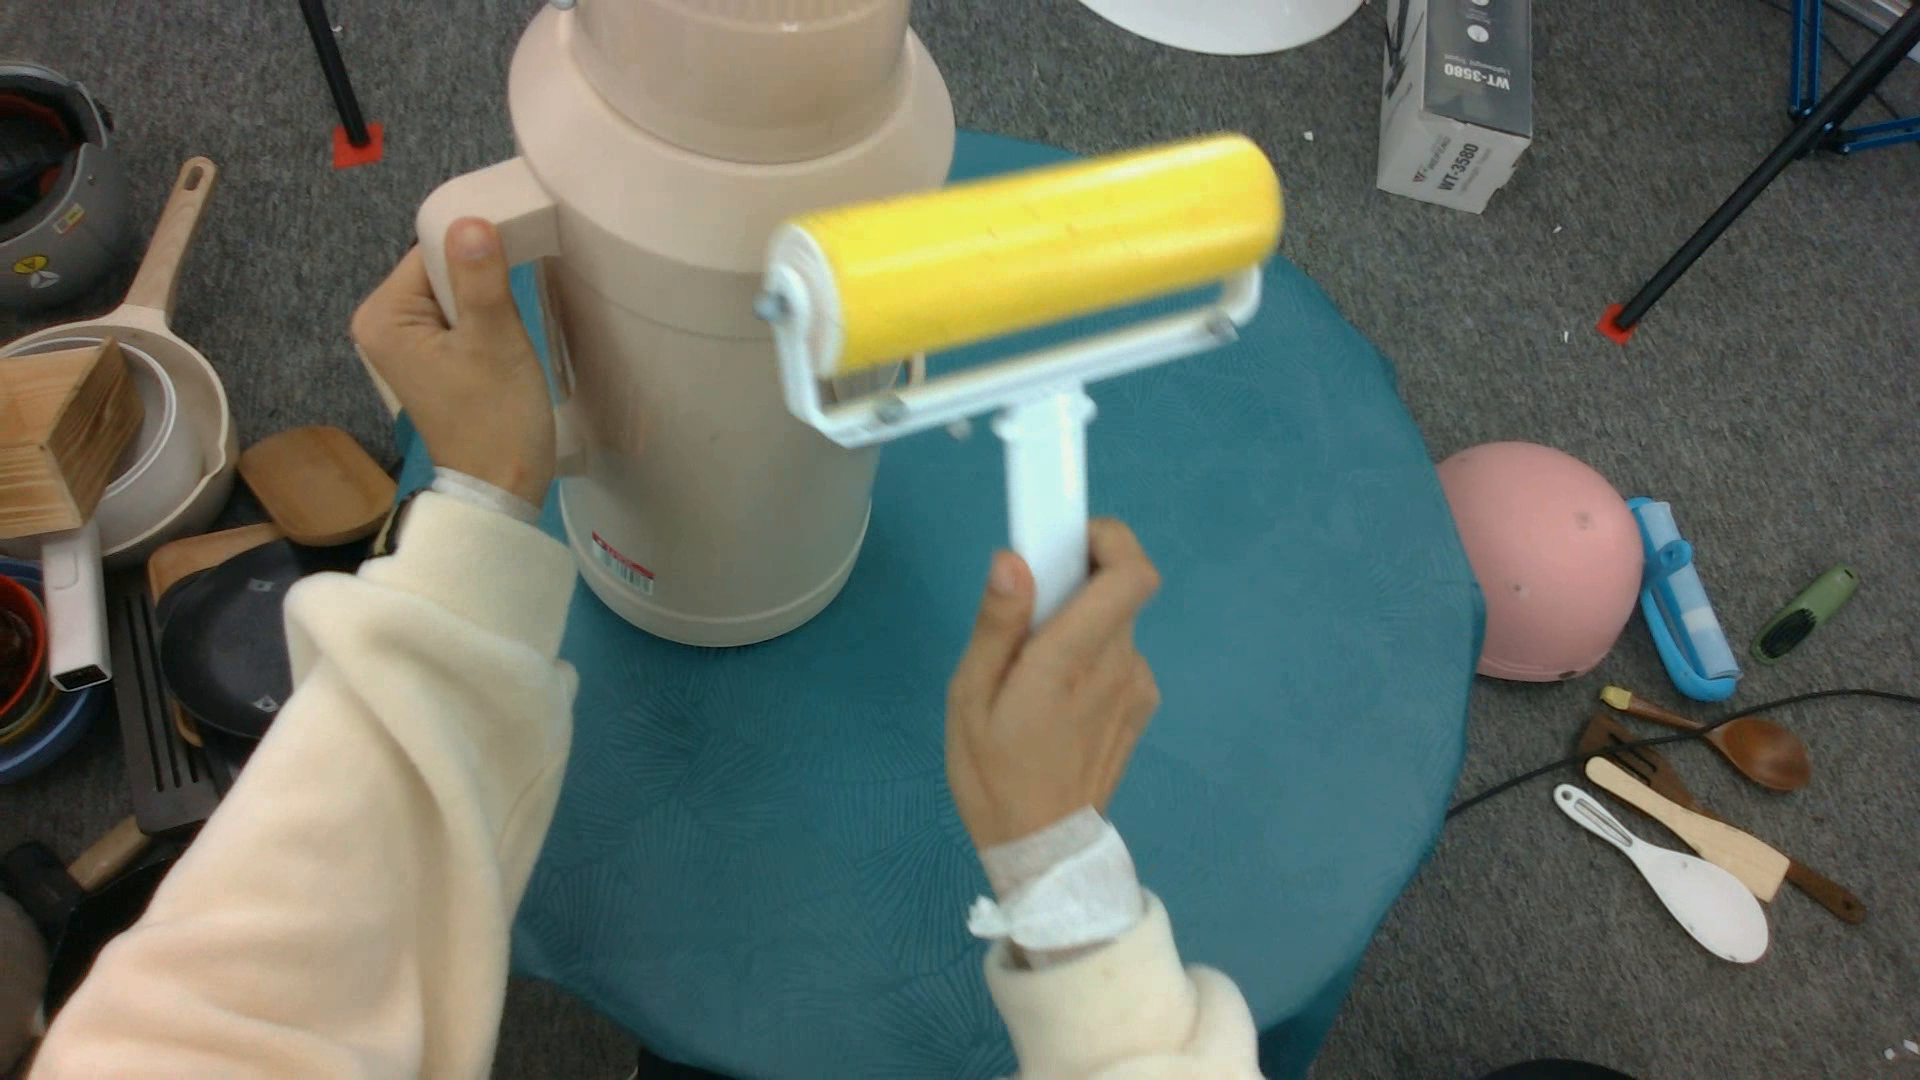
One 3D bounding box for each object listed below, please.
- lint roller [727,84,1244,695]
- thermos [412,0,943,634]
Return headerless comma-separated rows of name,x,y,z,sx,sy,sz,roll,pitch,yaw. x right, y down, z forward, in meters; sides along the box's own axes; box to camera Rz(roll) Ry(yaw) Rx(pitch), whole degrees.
lint roller,0.028,-0.035,0.443,0.175,0.051,0.191,-21,106,-27
thermos,-0.112,-0.110,0.573,0.208,0.404,0.175,-29,71,-25
